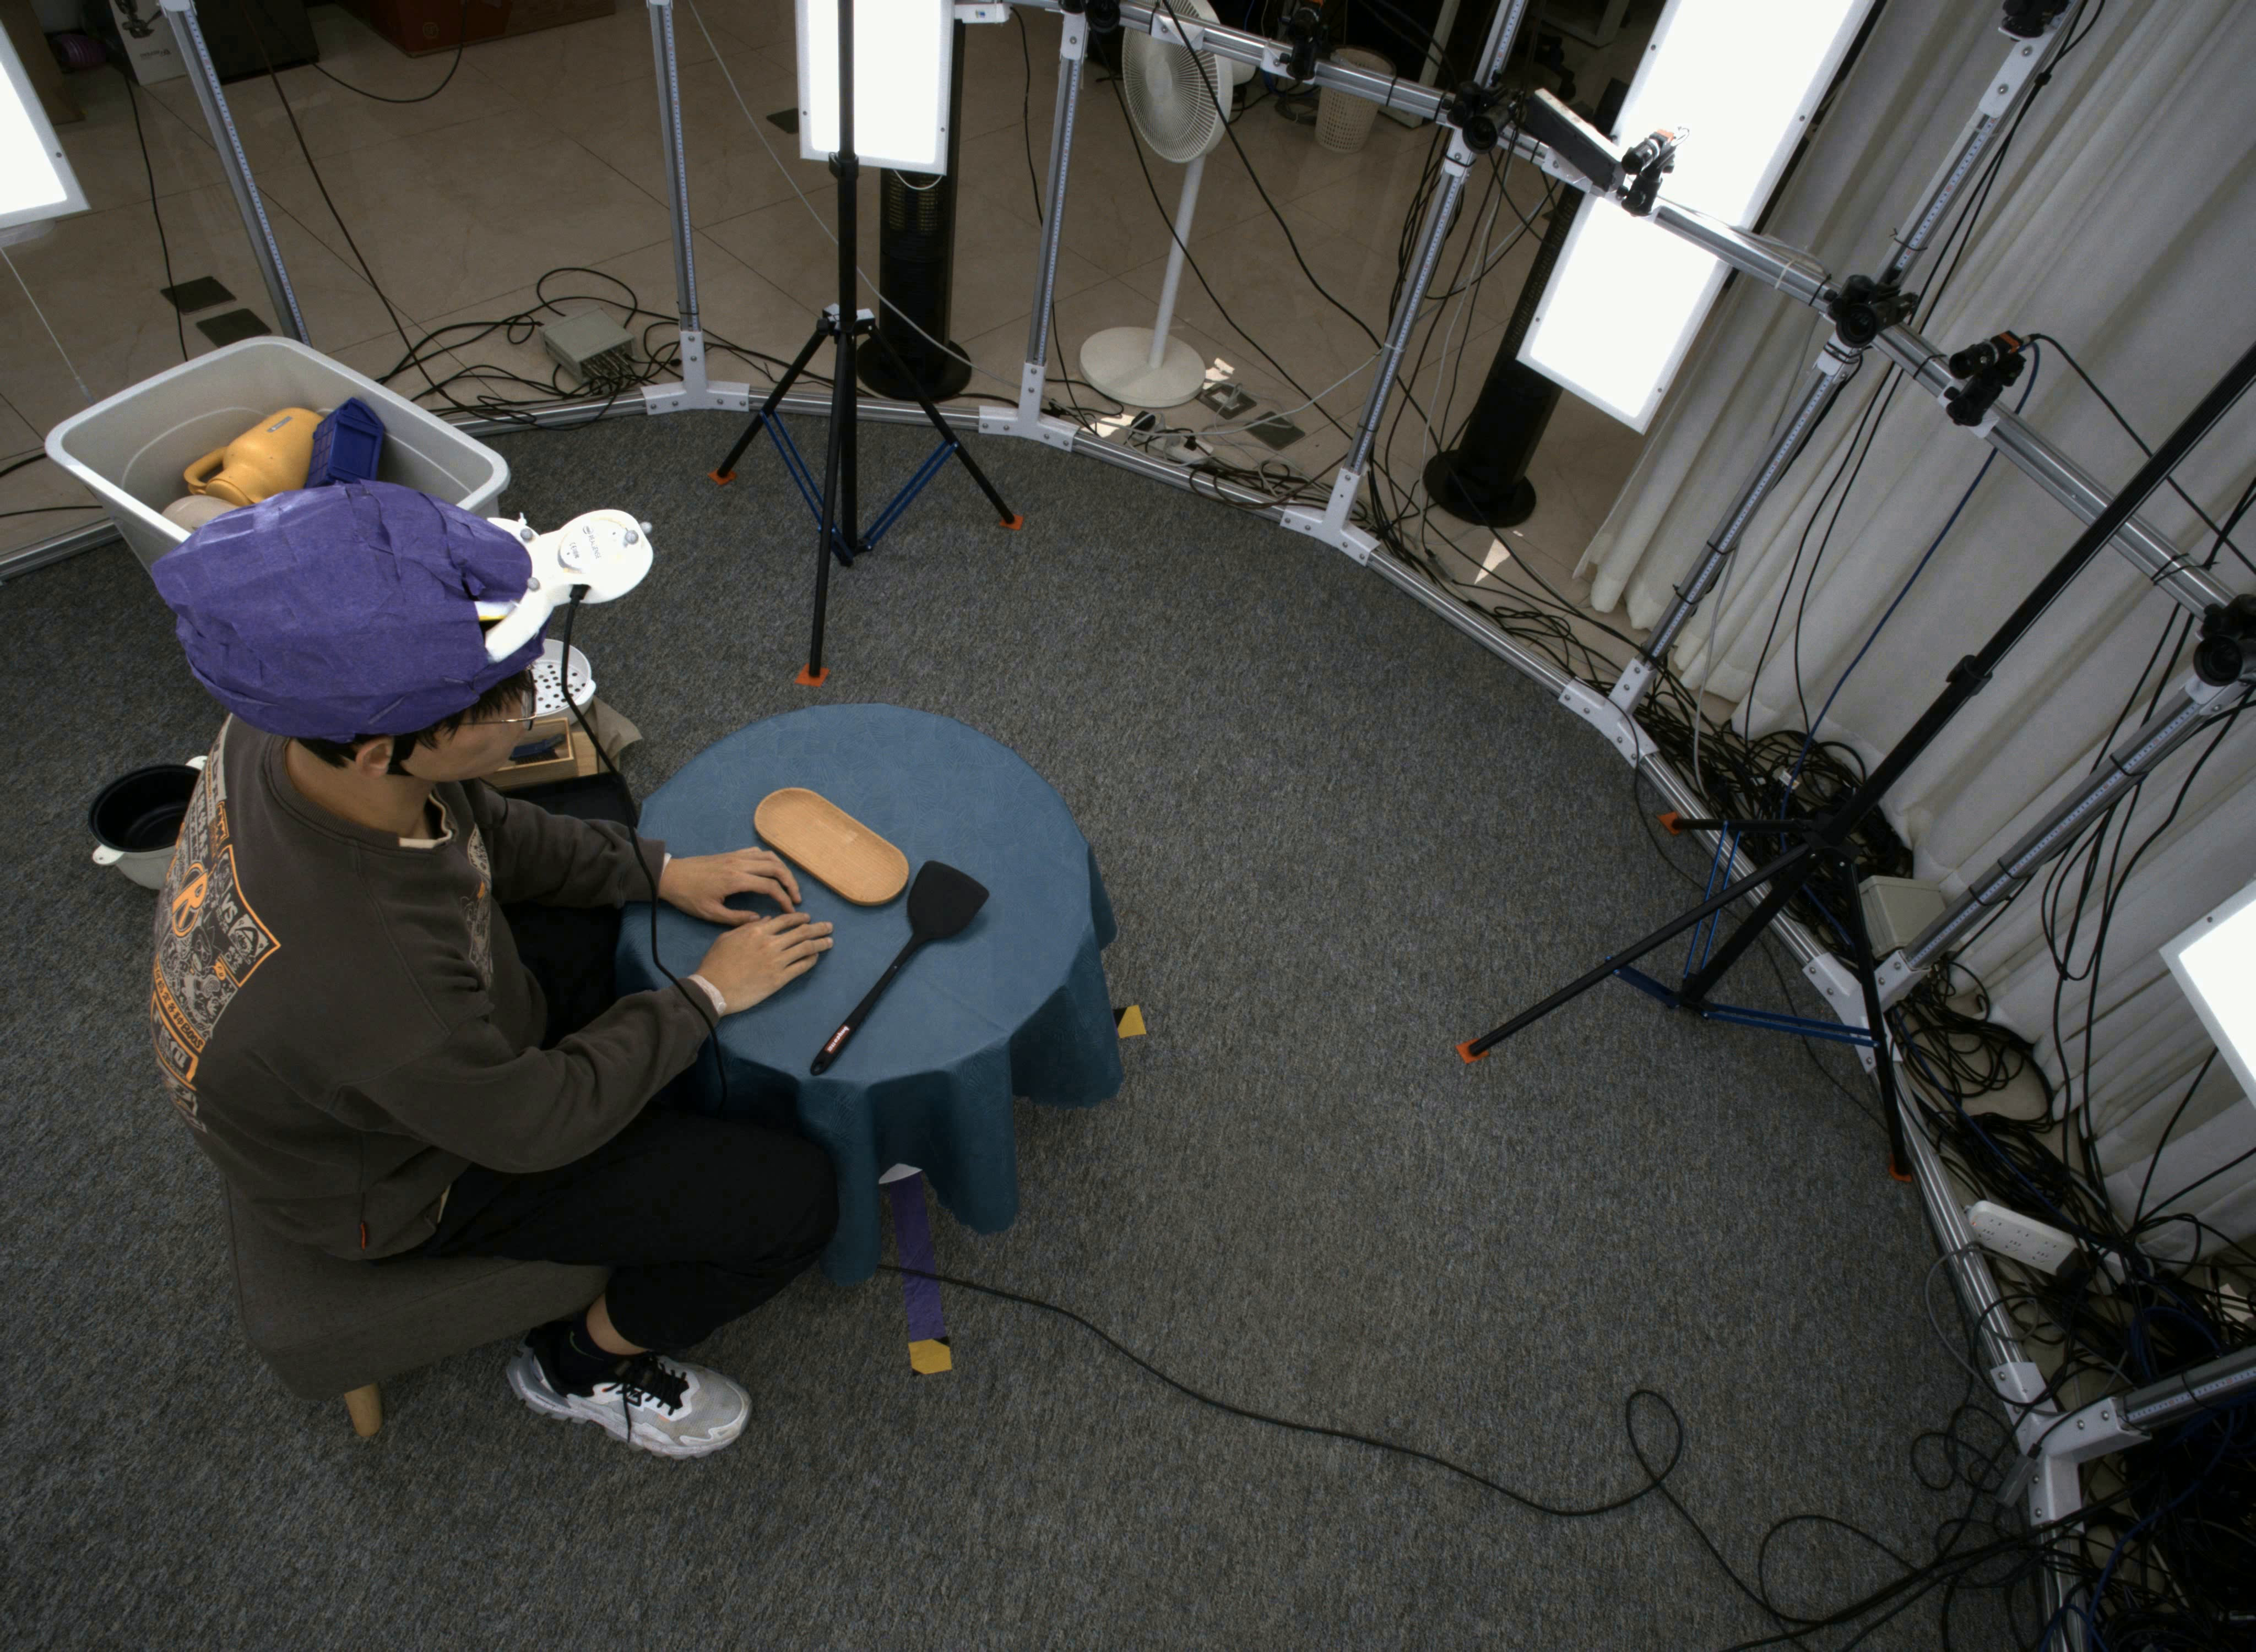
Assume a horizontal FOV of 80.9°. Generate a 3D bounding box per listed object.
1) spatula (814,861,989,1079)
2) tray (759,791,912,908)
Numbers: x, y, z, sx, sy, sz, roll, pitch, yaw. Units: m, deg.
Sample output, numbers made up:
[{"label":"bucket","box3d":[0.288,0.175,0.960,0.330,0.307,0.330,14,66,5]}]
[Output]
[{"label":"spatula","box3d":[-0.293,0.178,1.616,0.098,0.041,0.324,27,53,9]},{"label":"tray","box3d":[-0.388,0.029,1.716,0.227,0.021,0.101,33,54,10]}]
